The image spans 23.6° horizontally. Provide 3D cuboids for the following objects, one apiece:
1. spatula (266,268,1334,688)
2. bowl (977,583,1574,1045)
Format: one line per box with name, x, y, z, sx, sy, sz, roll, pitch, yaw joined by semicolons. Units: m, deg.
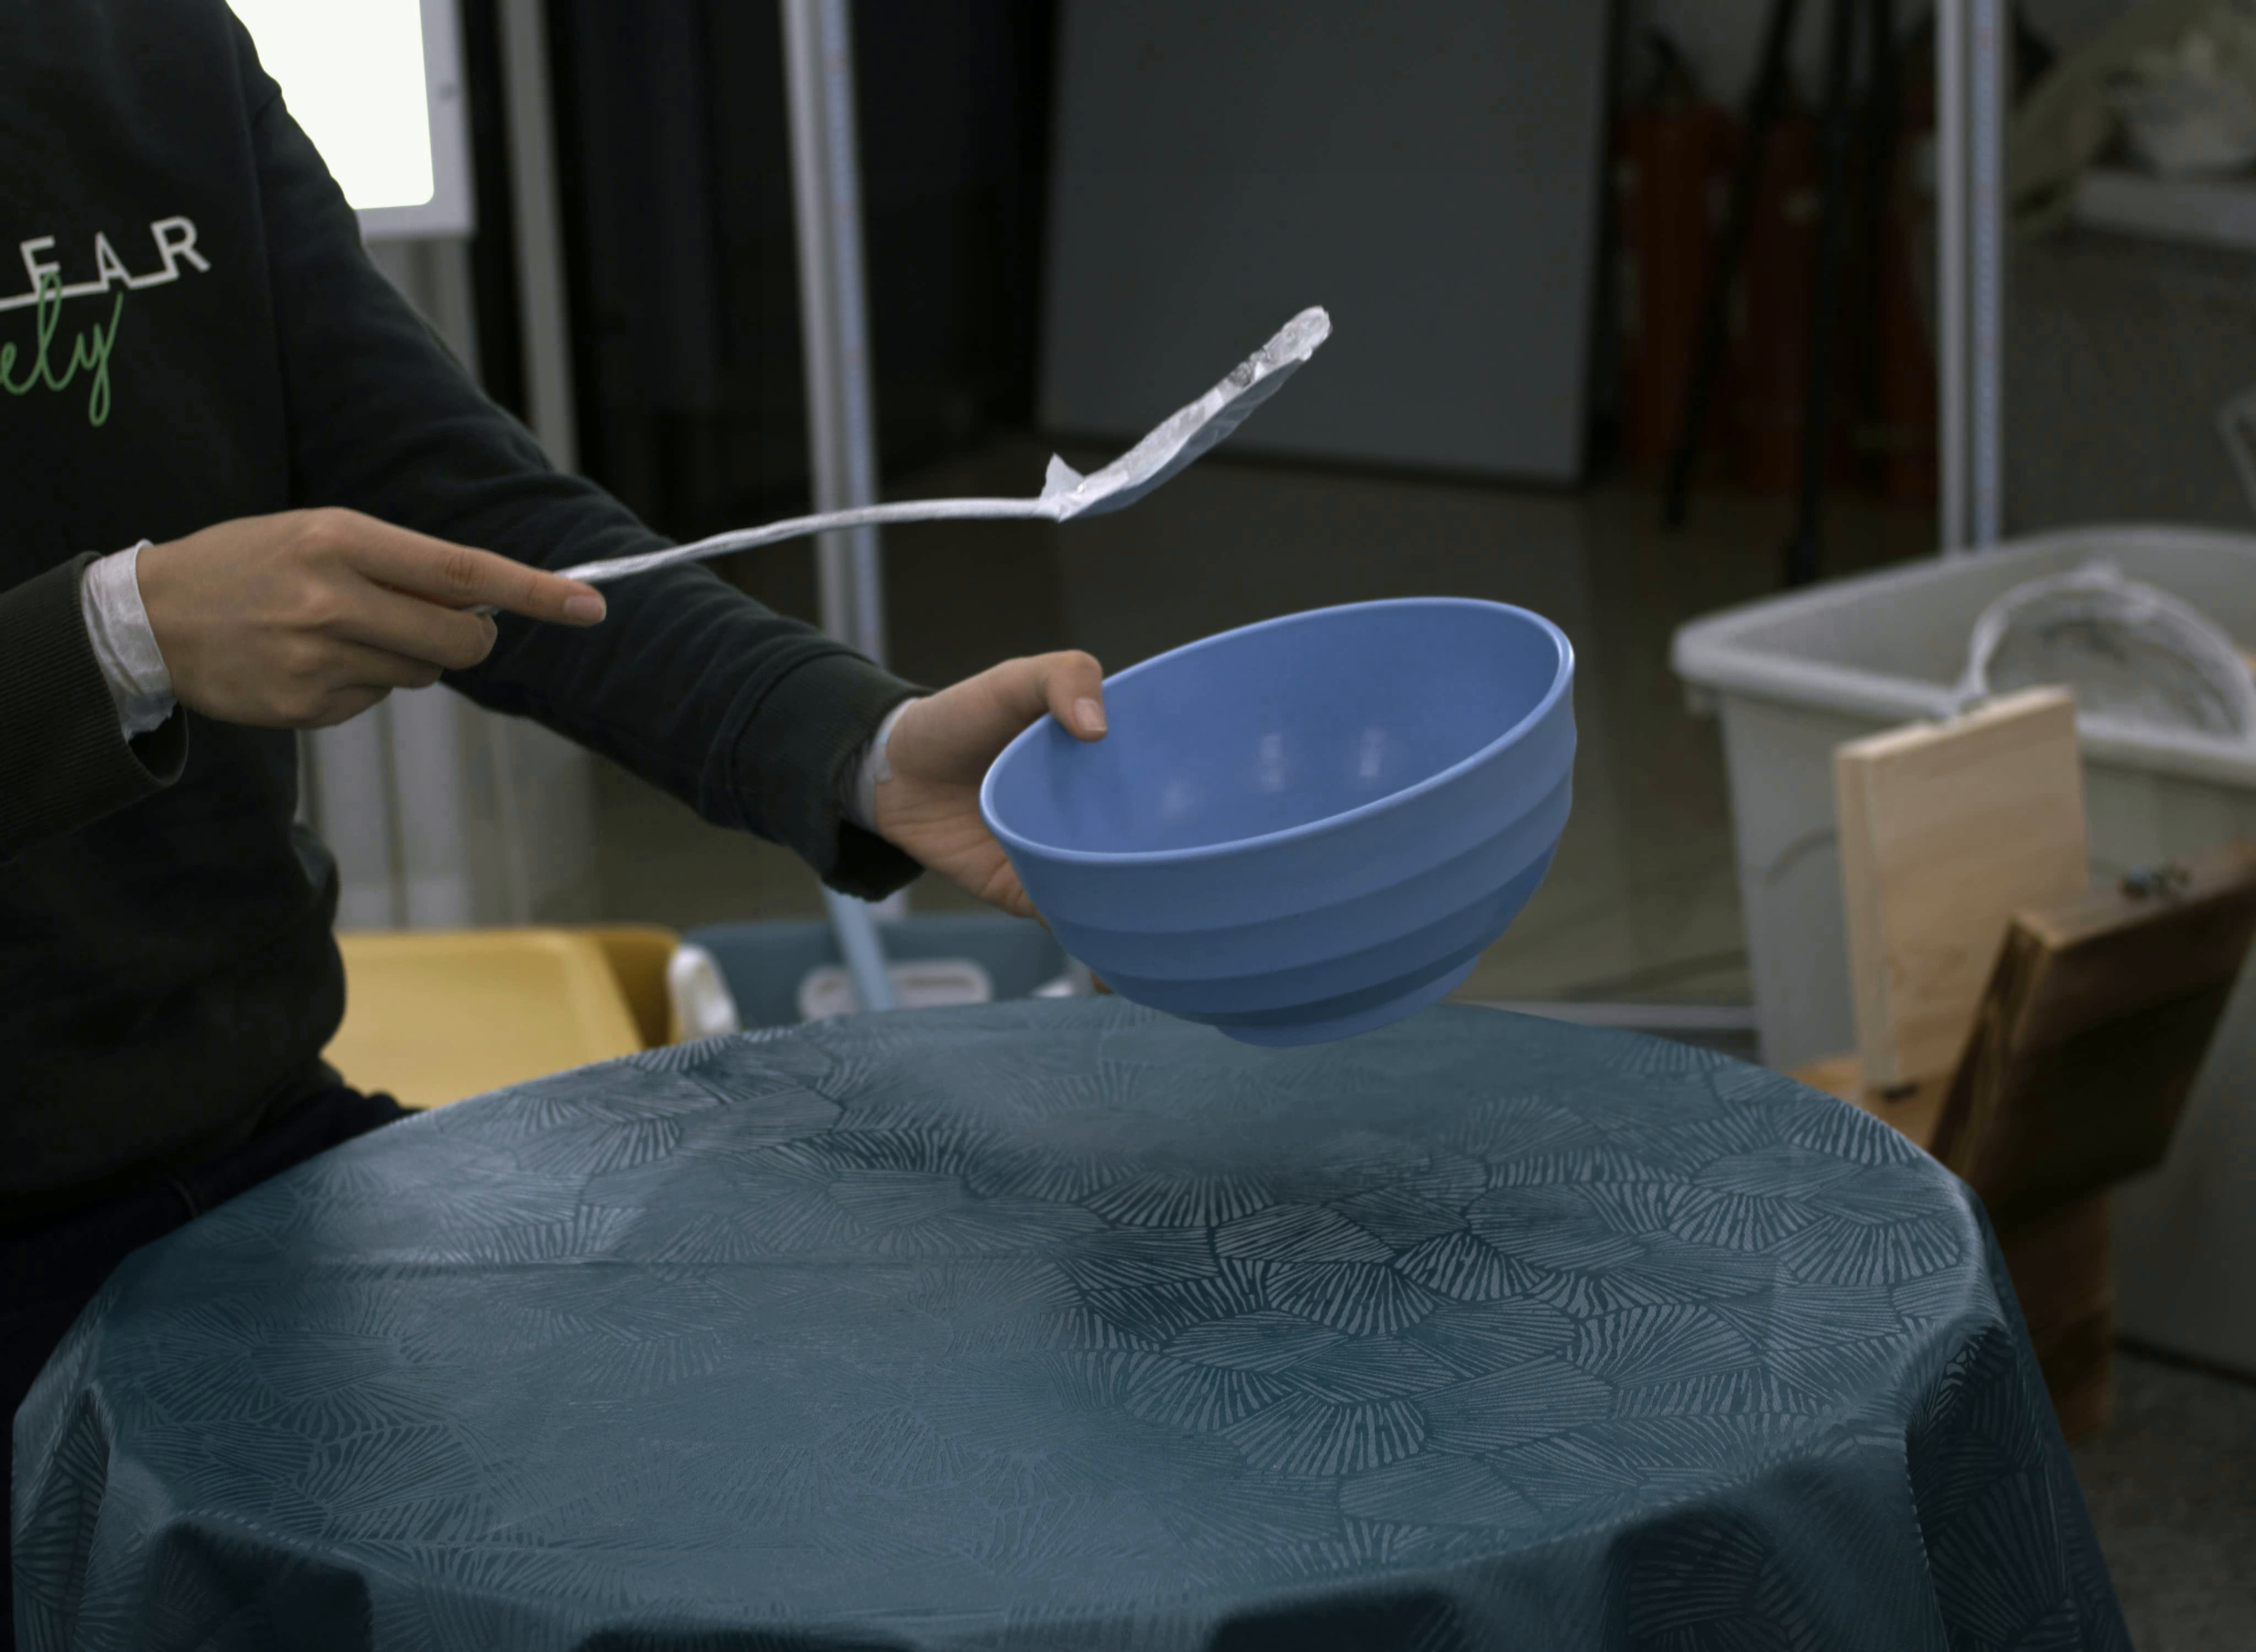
spatula;-0.106;-0.101;1.658;0.363;0.045;0.098;-13;15;12
bowl;0.057;0.007;1.721;0.195;0.096;0.197;-14;22;5
